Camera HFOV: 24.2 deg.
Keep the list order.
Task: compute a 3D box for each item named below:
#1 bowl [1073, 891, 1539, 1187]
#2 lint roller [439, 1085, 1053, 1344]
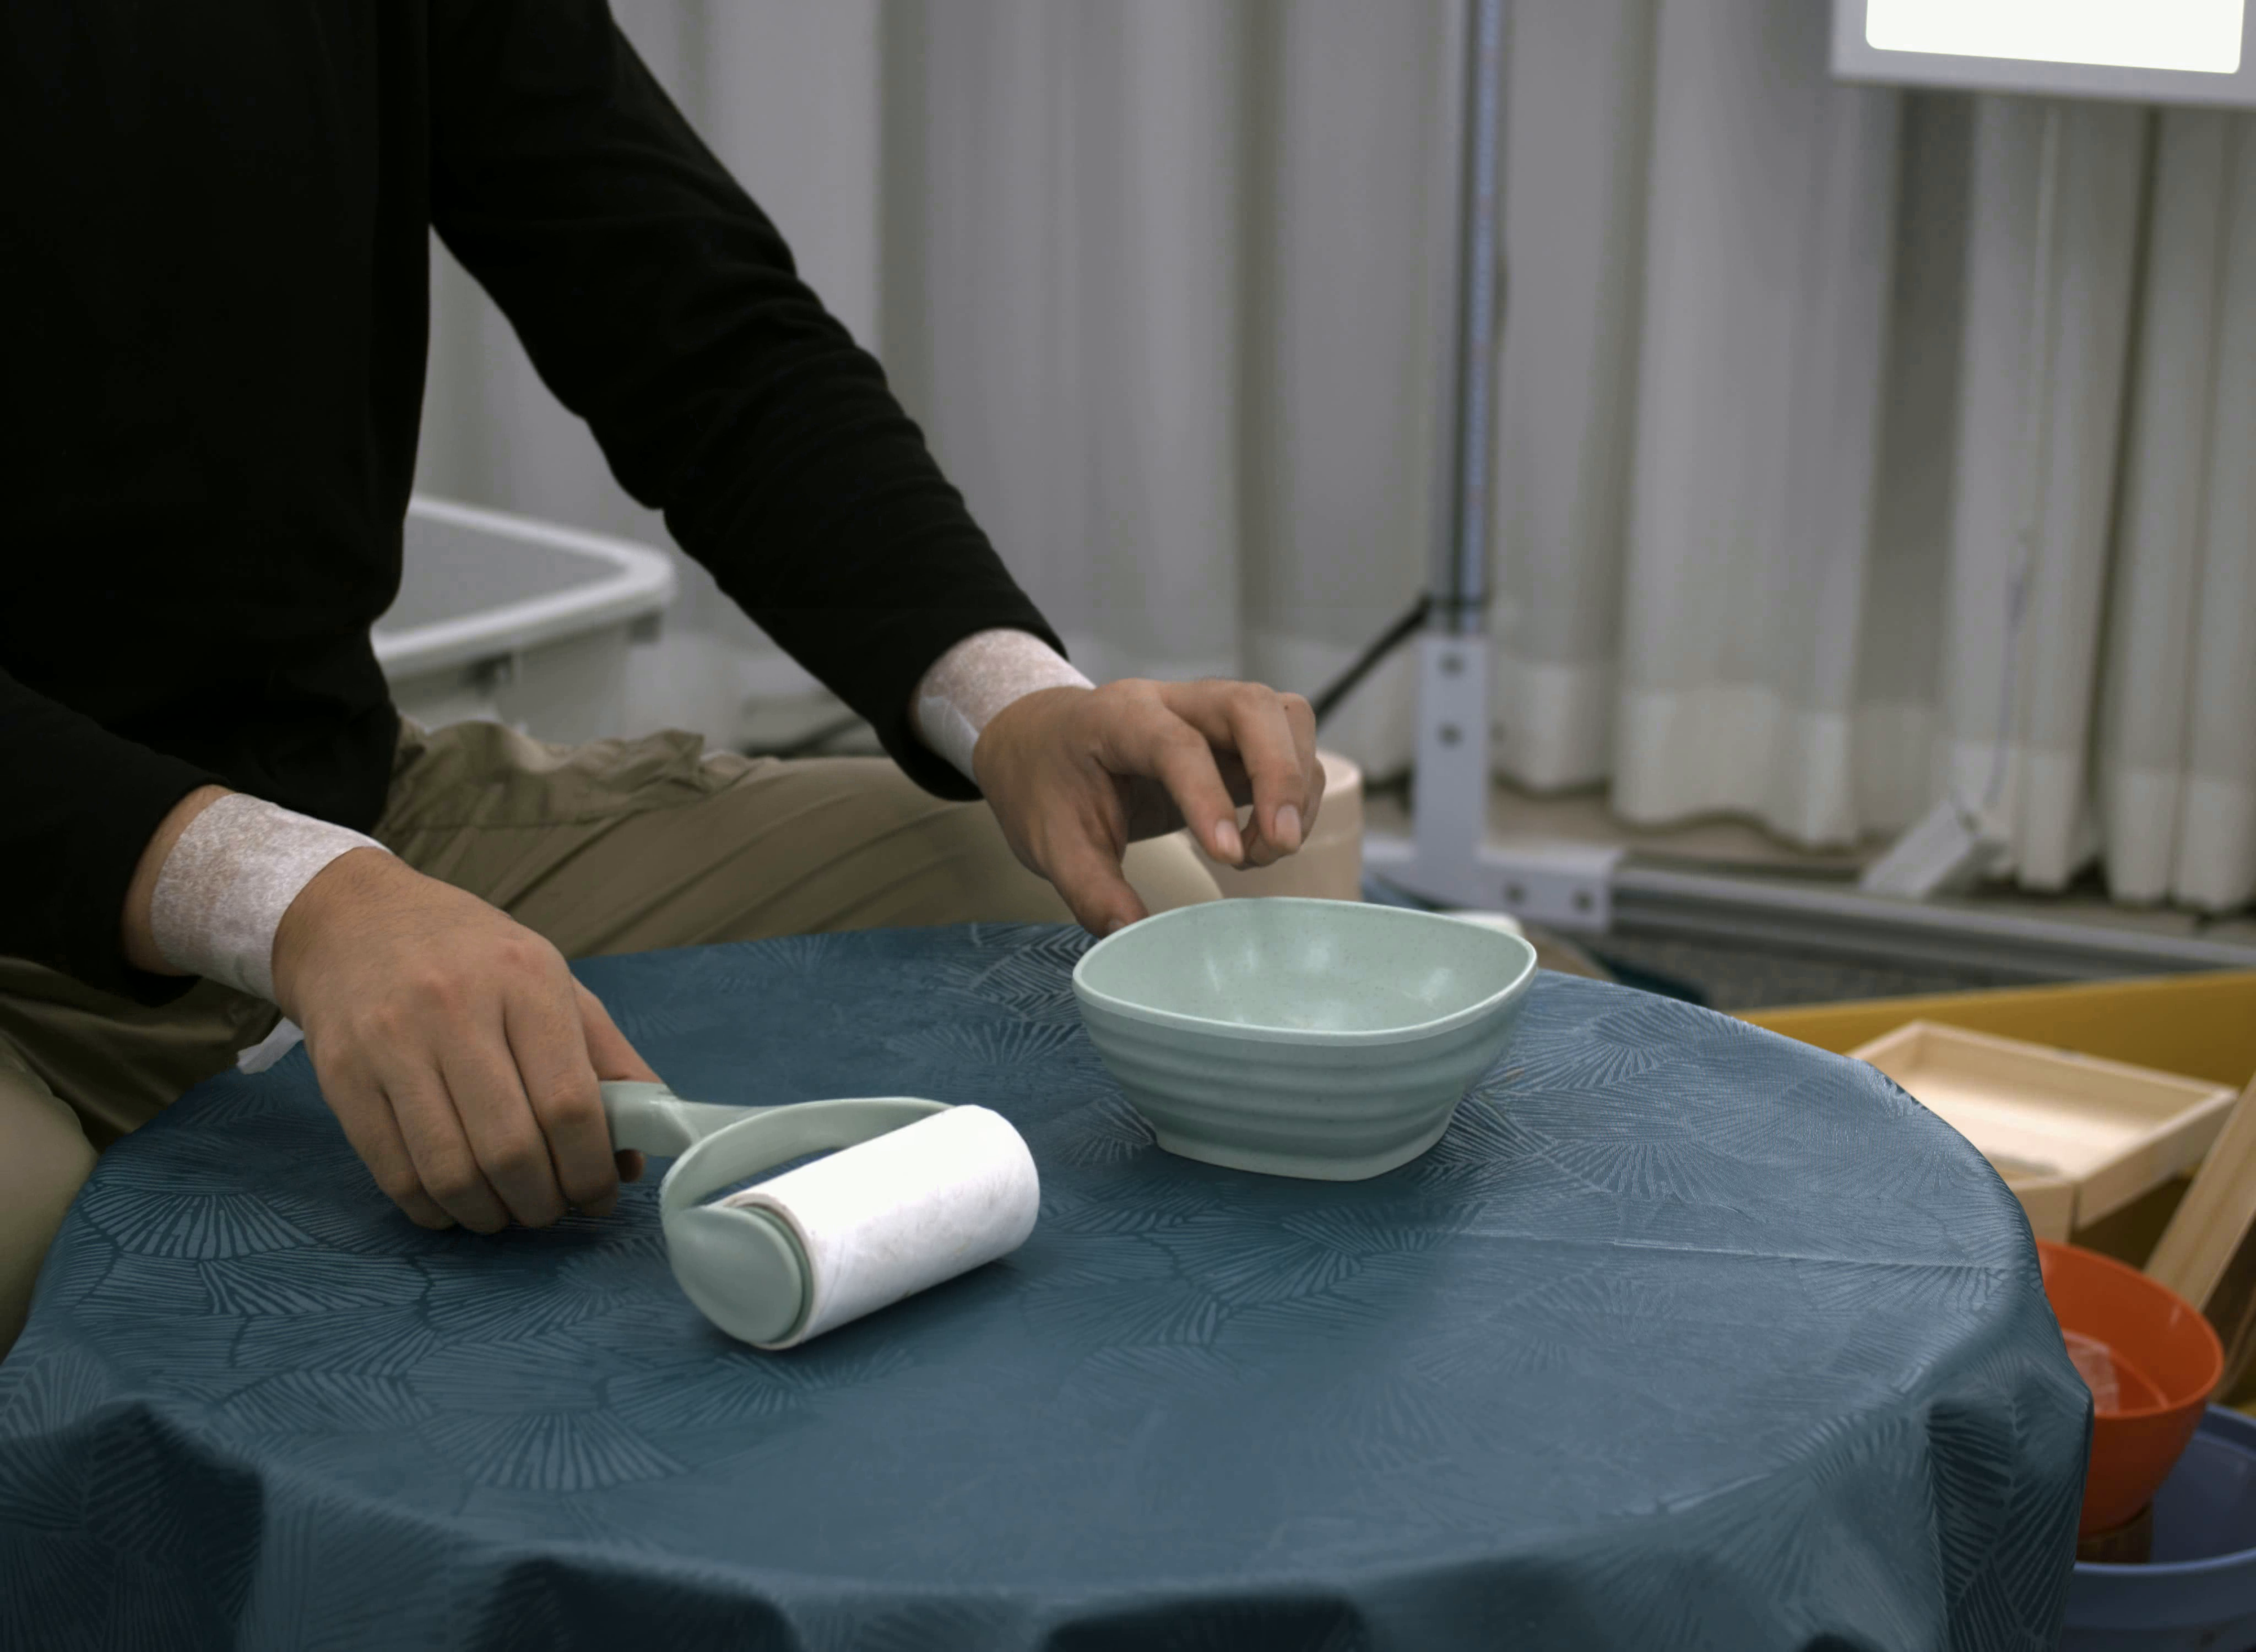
[{"bbox_3d":[0.056,0.070,1.668,0.151,0.059,0.150,1,17,0],"label":"bowl"},{"bbox_3d":[-0.128,0.101,1.567,0.195,0.049,0.117,12,21,35],"label":"lint roller"}]
